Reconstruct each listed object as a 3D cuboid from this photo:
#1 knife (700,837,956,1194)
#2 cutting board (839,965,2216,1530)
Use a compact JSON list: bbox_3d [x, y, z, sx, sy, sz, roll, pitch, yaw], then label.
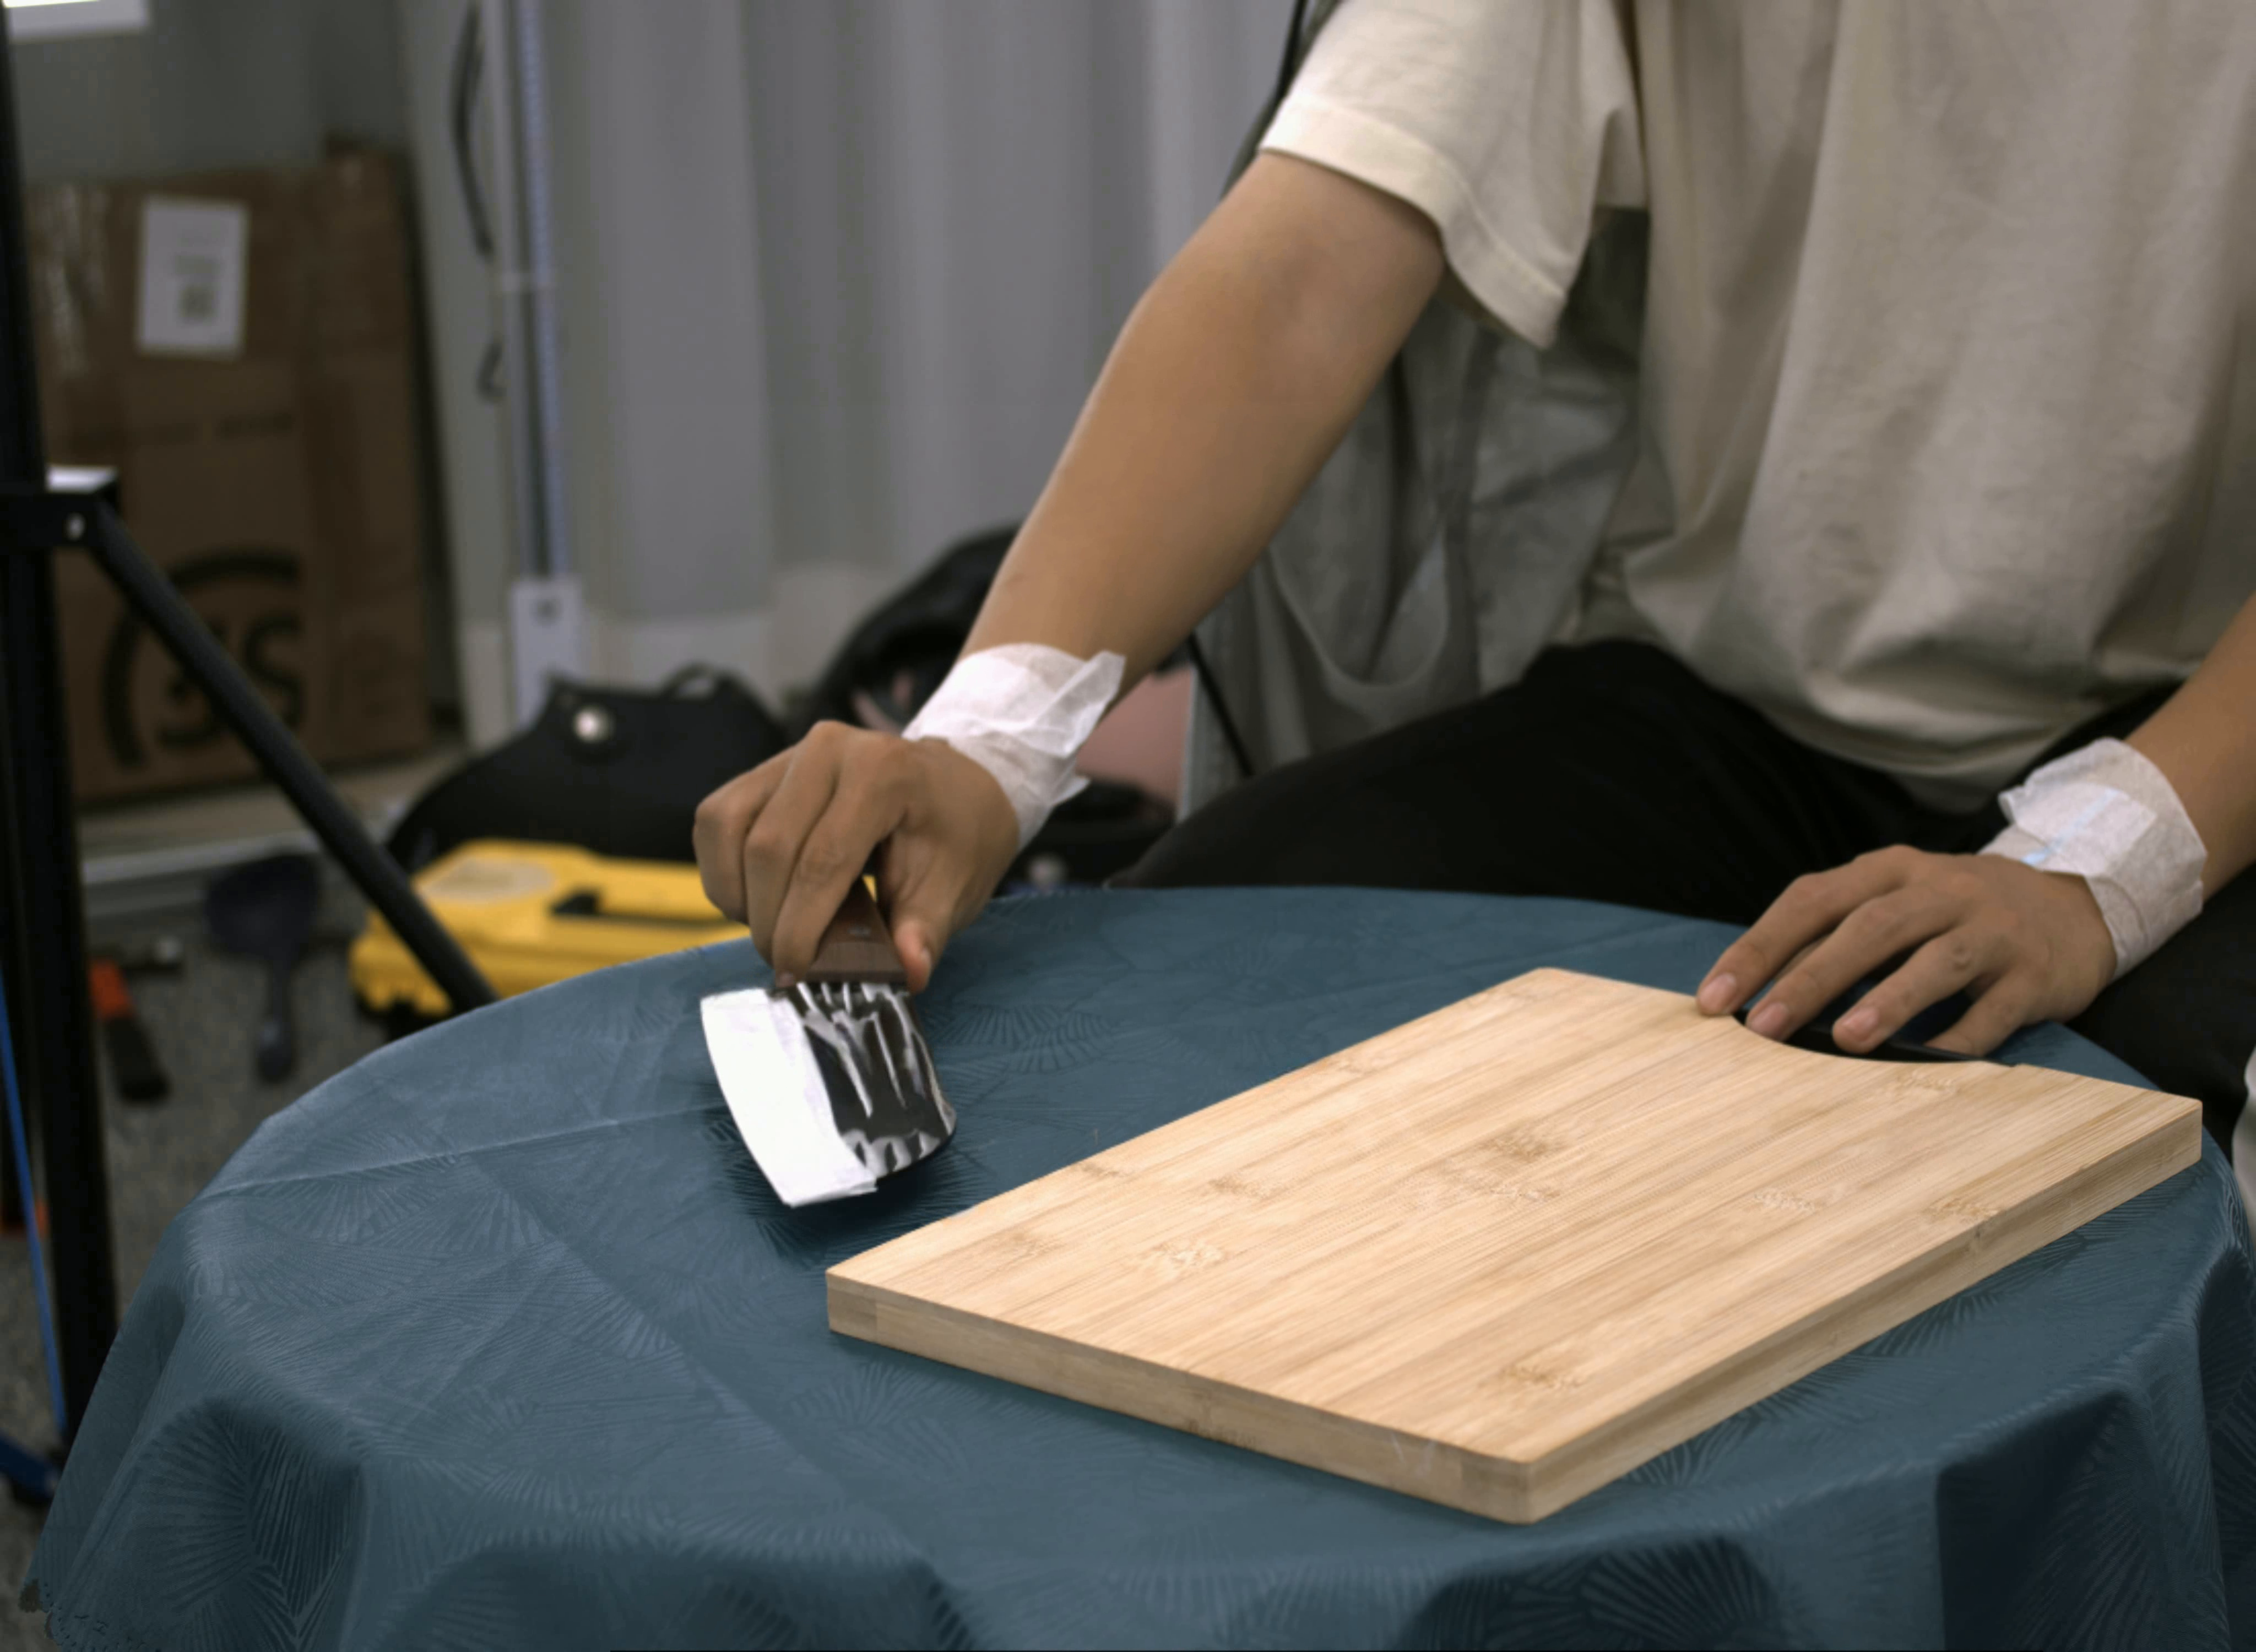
[{"bbox_3d":[-0.098,0.059,1.661,0.067,0.024,0.303,-3,18,-8],"label":"knife"},{"bbox_3d":[0.120,0.109,1.501,0.256,0.023,0.341,11,20,39],"label":"cutting board"}]
